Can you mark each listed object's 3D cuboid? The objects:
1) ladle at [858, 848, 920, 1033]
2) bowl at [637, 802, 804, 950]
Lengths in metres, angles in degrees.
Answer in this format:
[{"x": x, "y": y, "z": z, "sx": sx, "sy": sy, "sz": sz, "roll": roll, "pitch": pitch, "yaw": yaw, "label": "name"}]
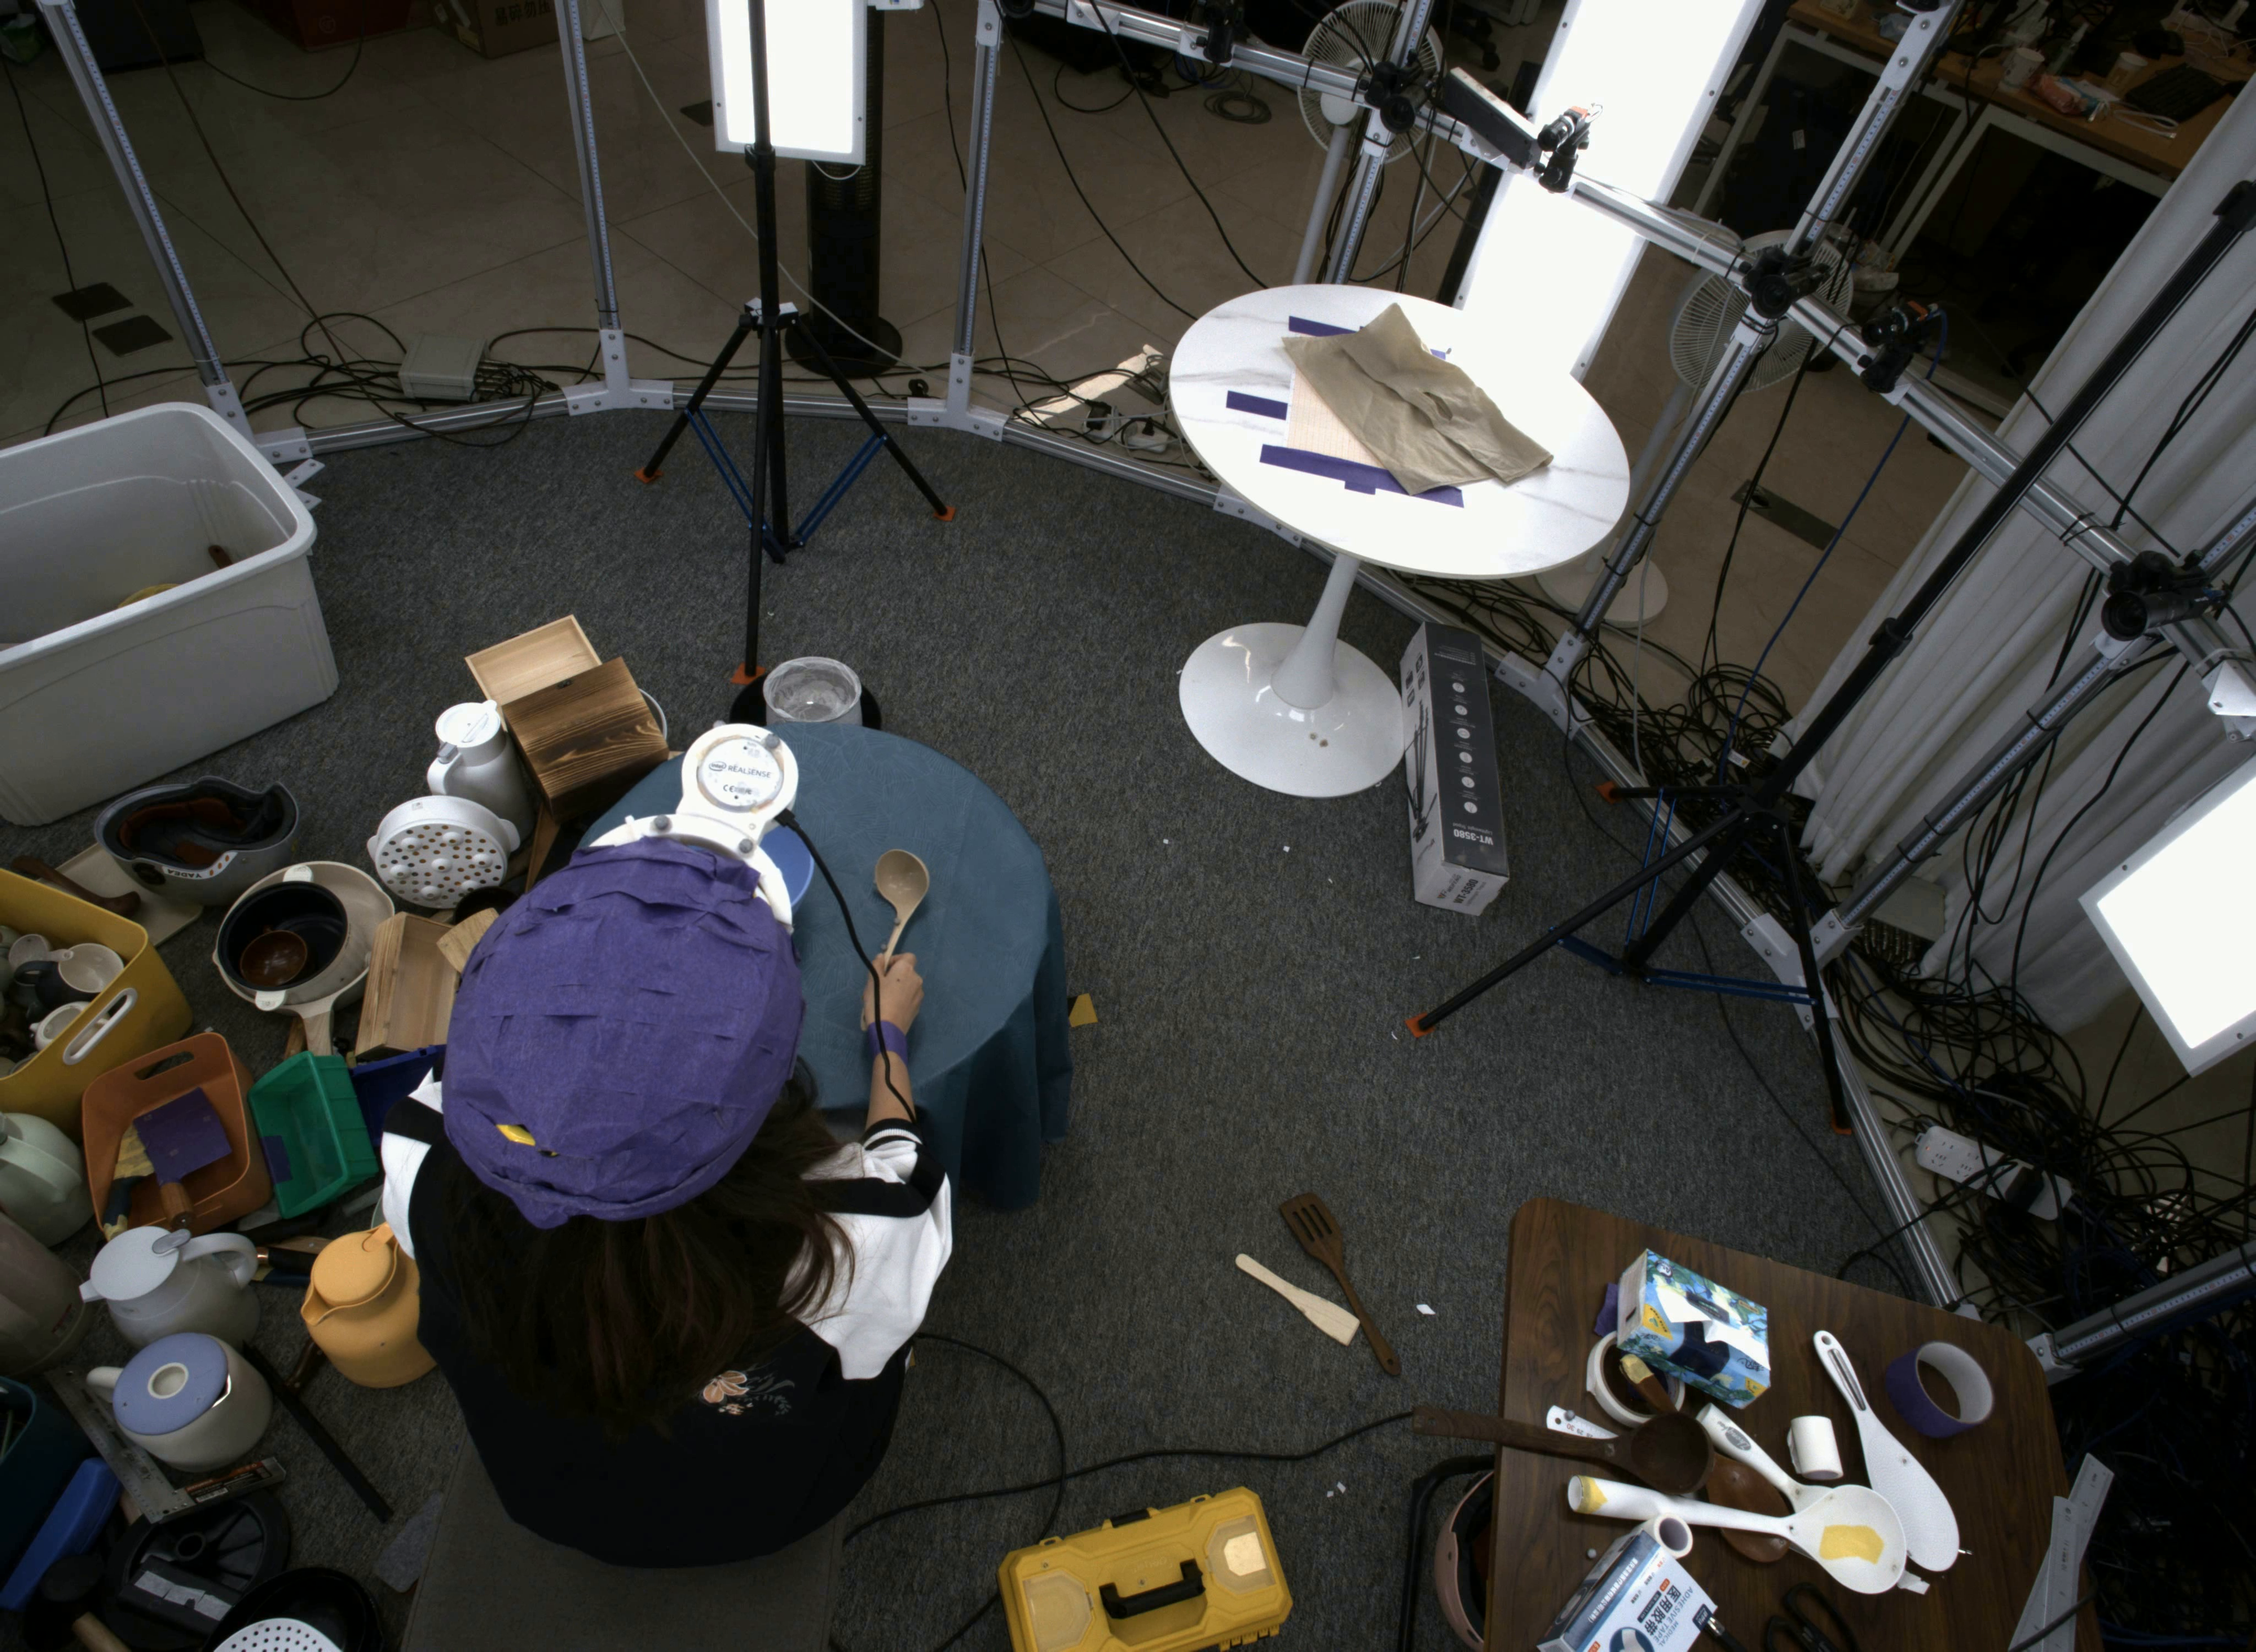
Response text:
[{"x": -0.309, "y": 0.129, "z": 1.585, "sx": 0.071, "sy": 0.075, "sz": 0.249, "roll": -9, "pitch": 40, "yaw": 13, "label": "ladle"}, {"x": -0.498, "y": 0.075, "z": 1.584, "sx": 0.196, "sy": 0.097, "sz": 0.193, "roll": 9, "pitch": 51, "yaw": -10, "label": "bowl"}]
